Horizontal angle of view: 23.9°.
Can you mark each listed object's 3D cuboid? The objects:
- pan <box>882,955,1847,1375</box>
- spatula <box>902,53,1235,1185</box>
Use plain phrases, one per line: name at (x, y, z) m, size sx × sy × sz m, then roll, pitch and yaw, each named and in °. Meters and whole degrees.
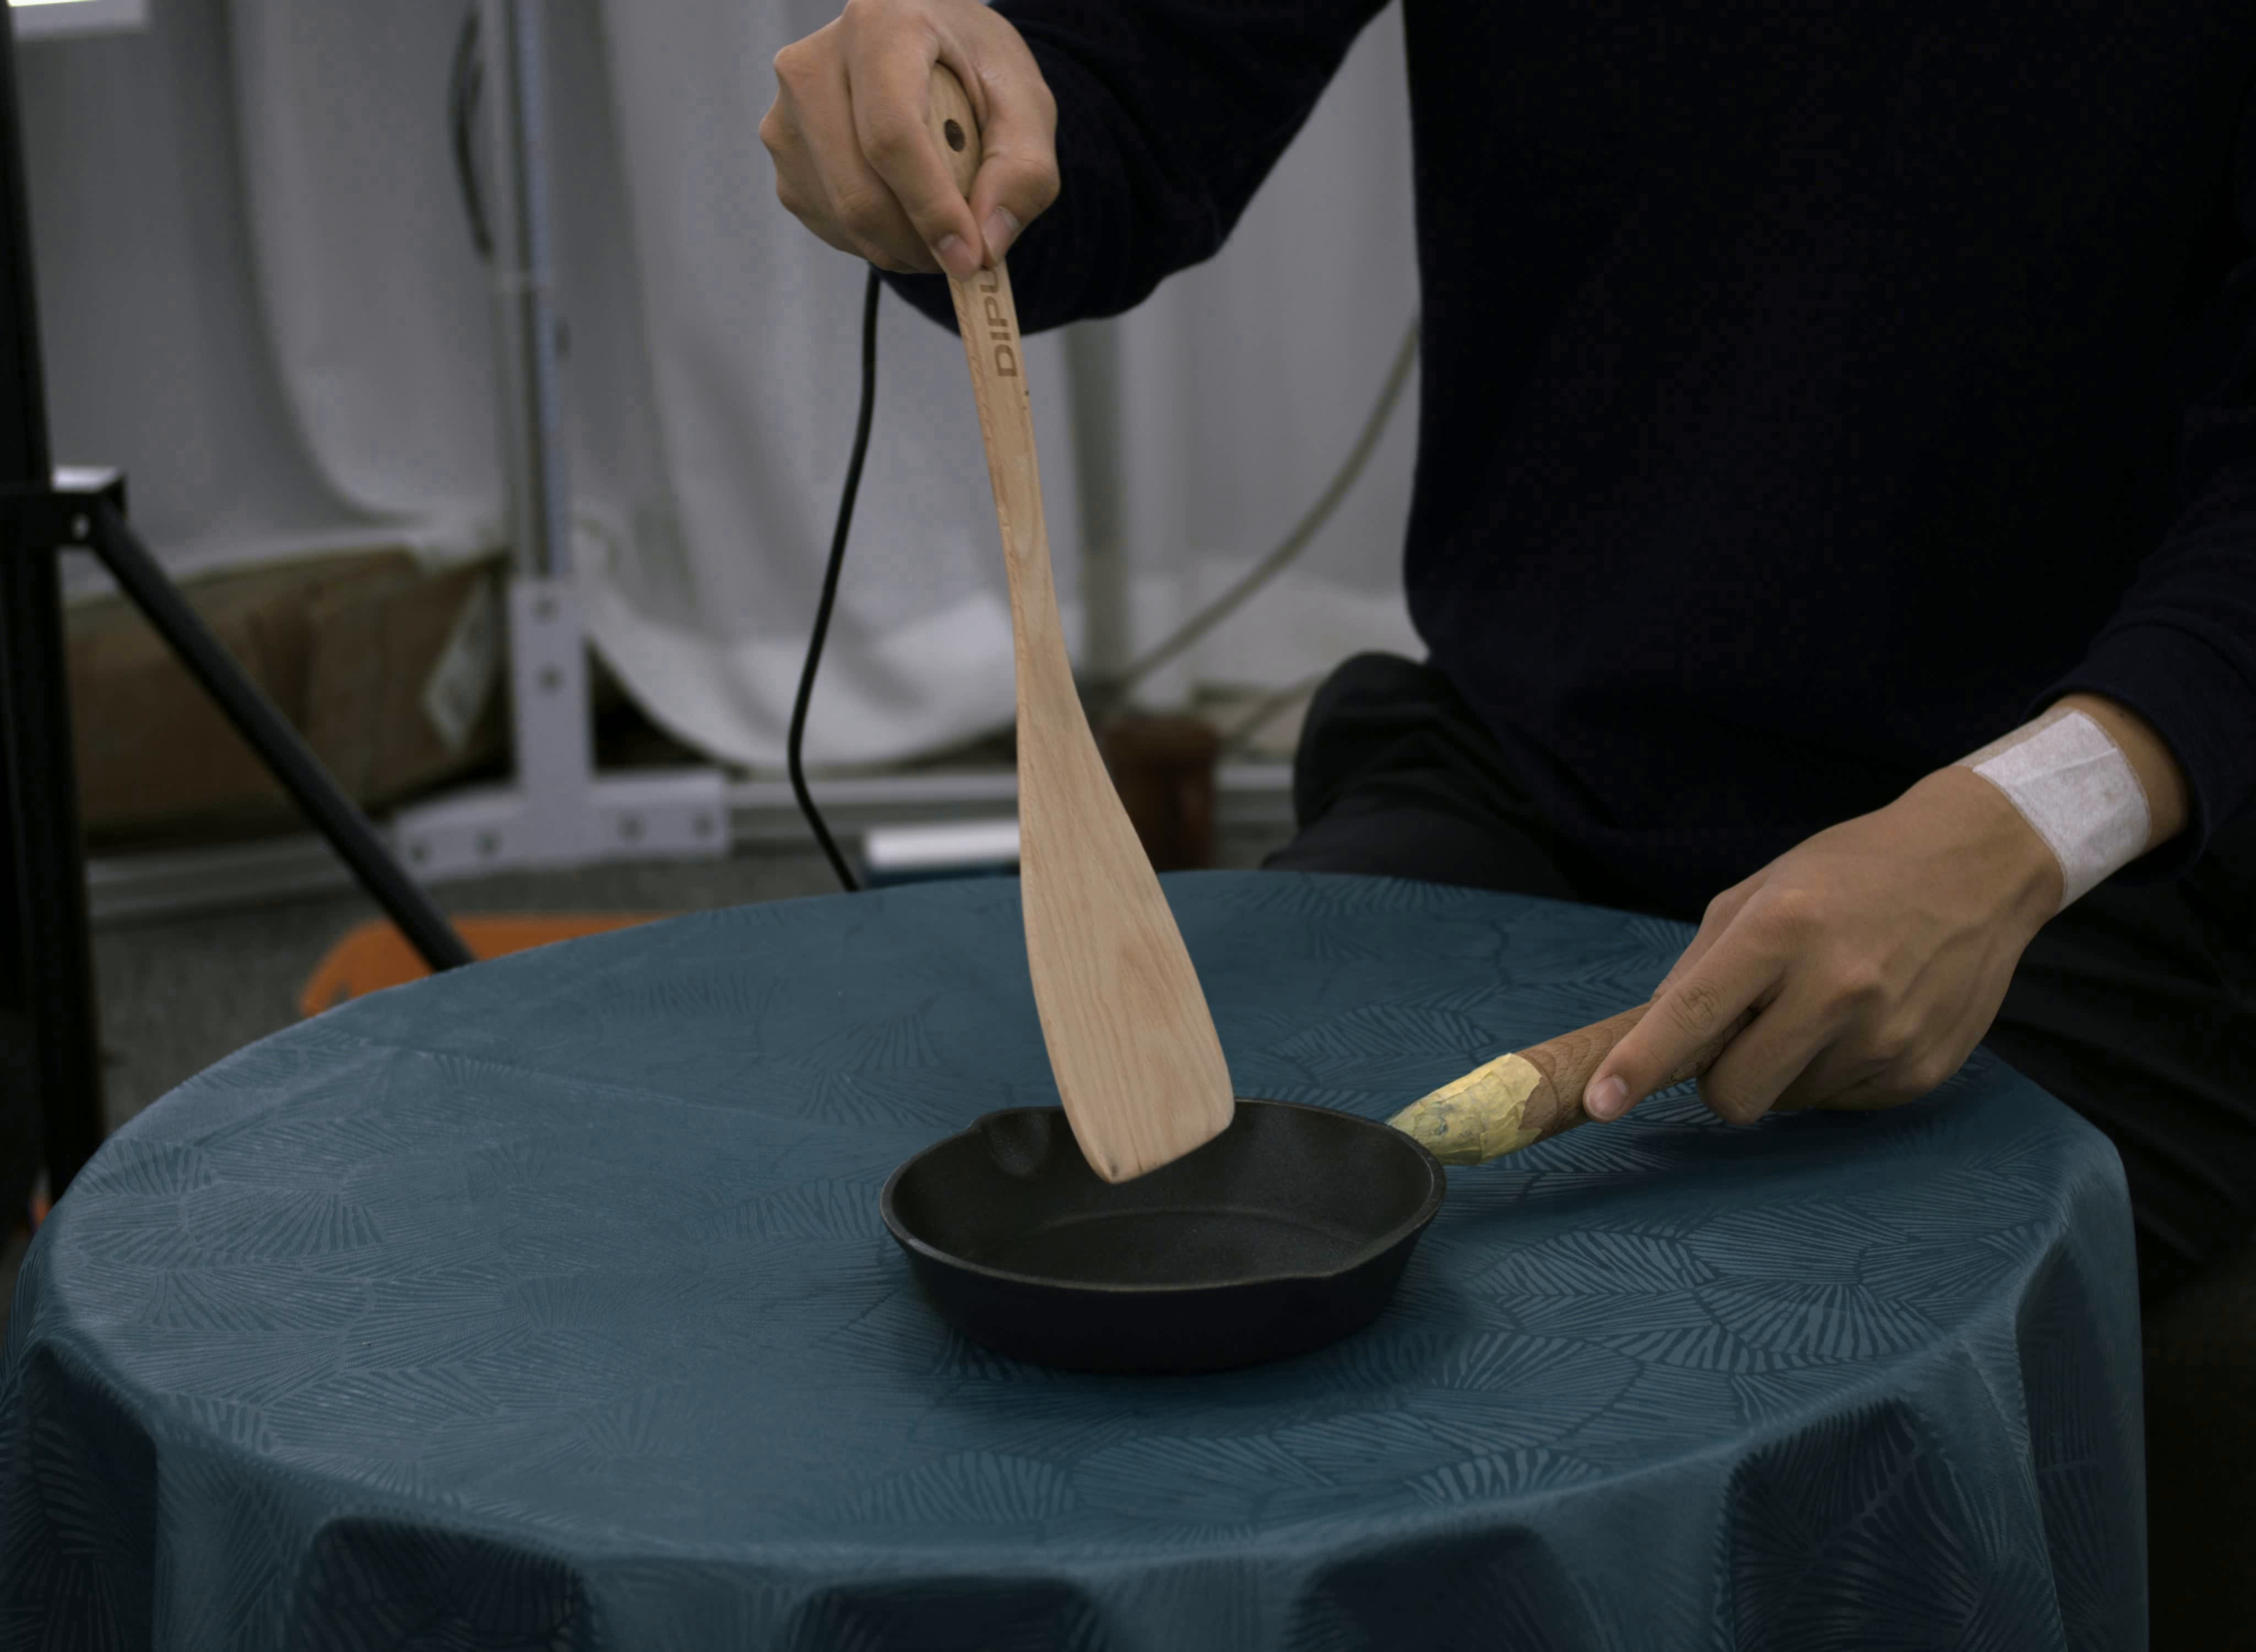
pan at (0.081, 0.092, 1.509) m, size 0.317 × 0.049 × 0.172 m, roll -13°, pitch 18°, yaw -29°
spatula at (-0.022, -0.061, 1.509) m, size 0.017 × 0.330 × 0.078 m, roll -16°, pitch -9°, yaw 35°
